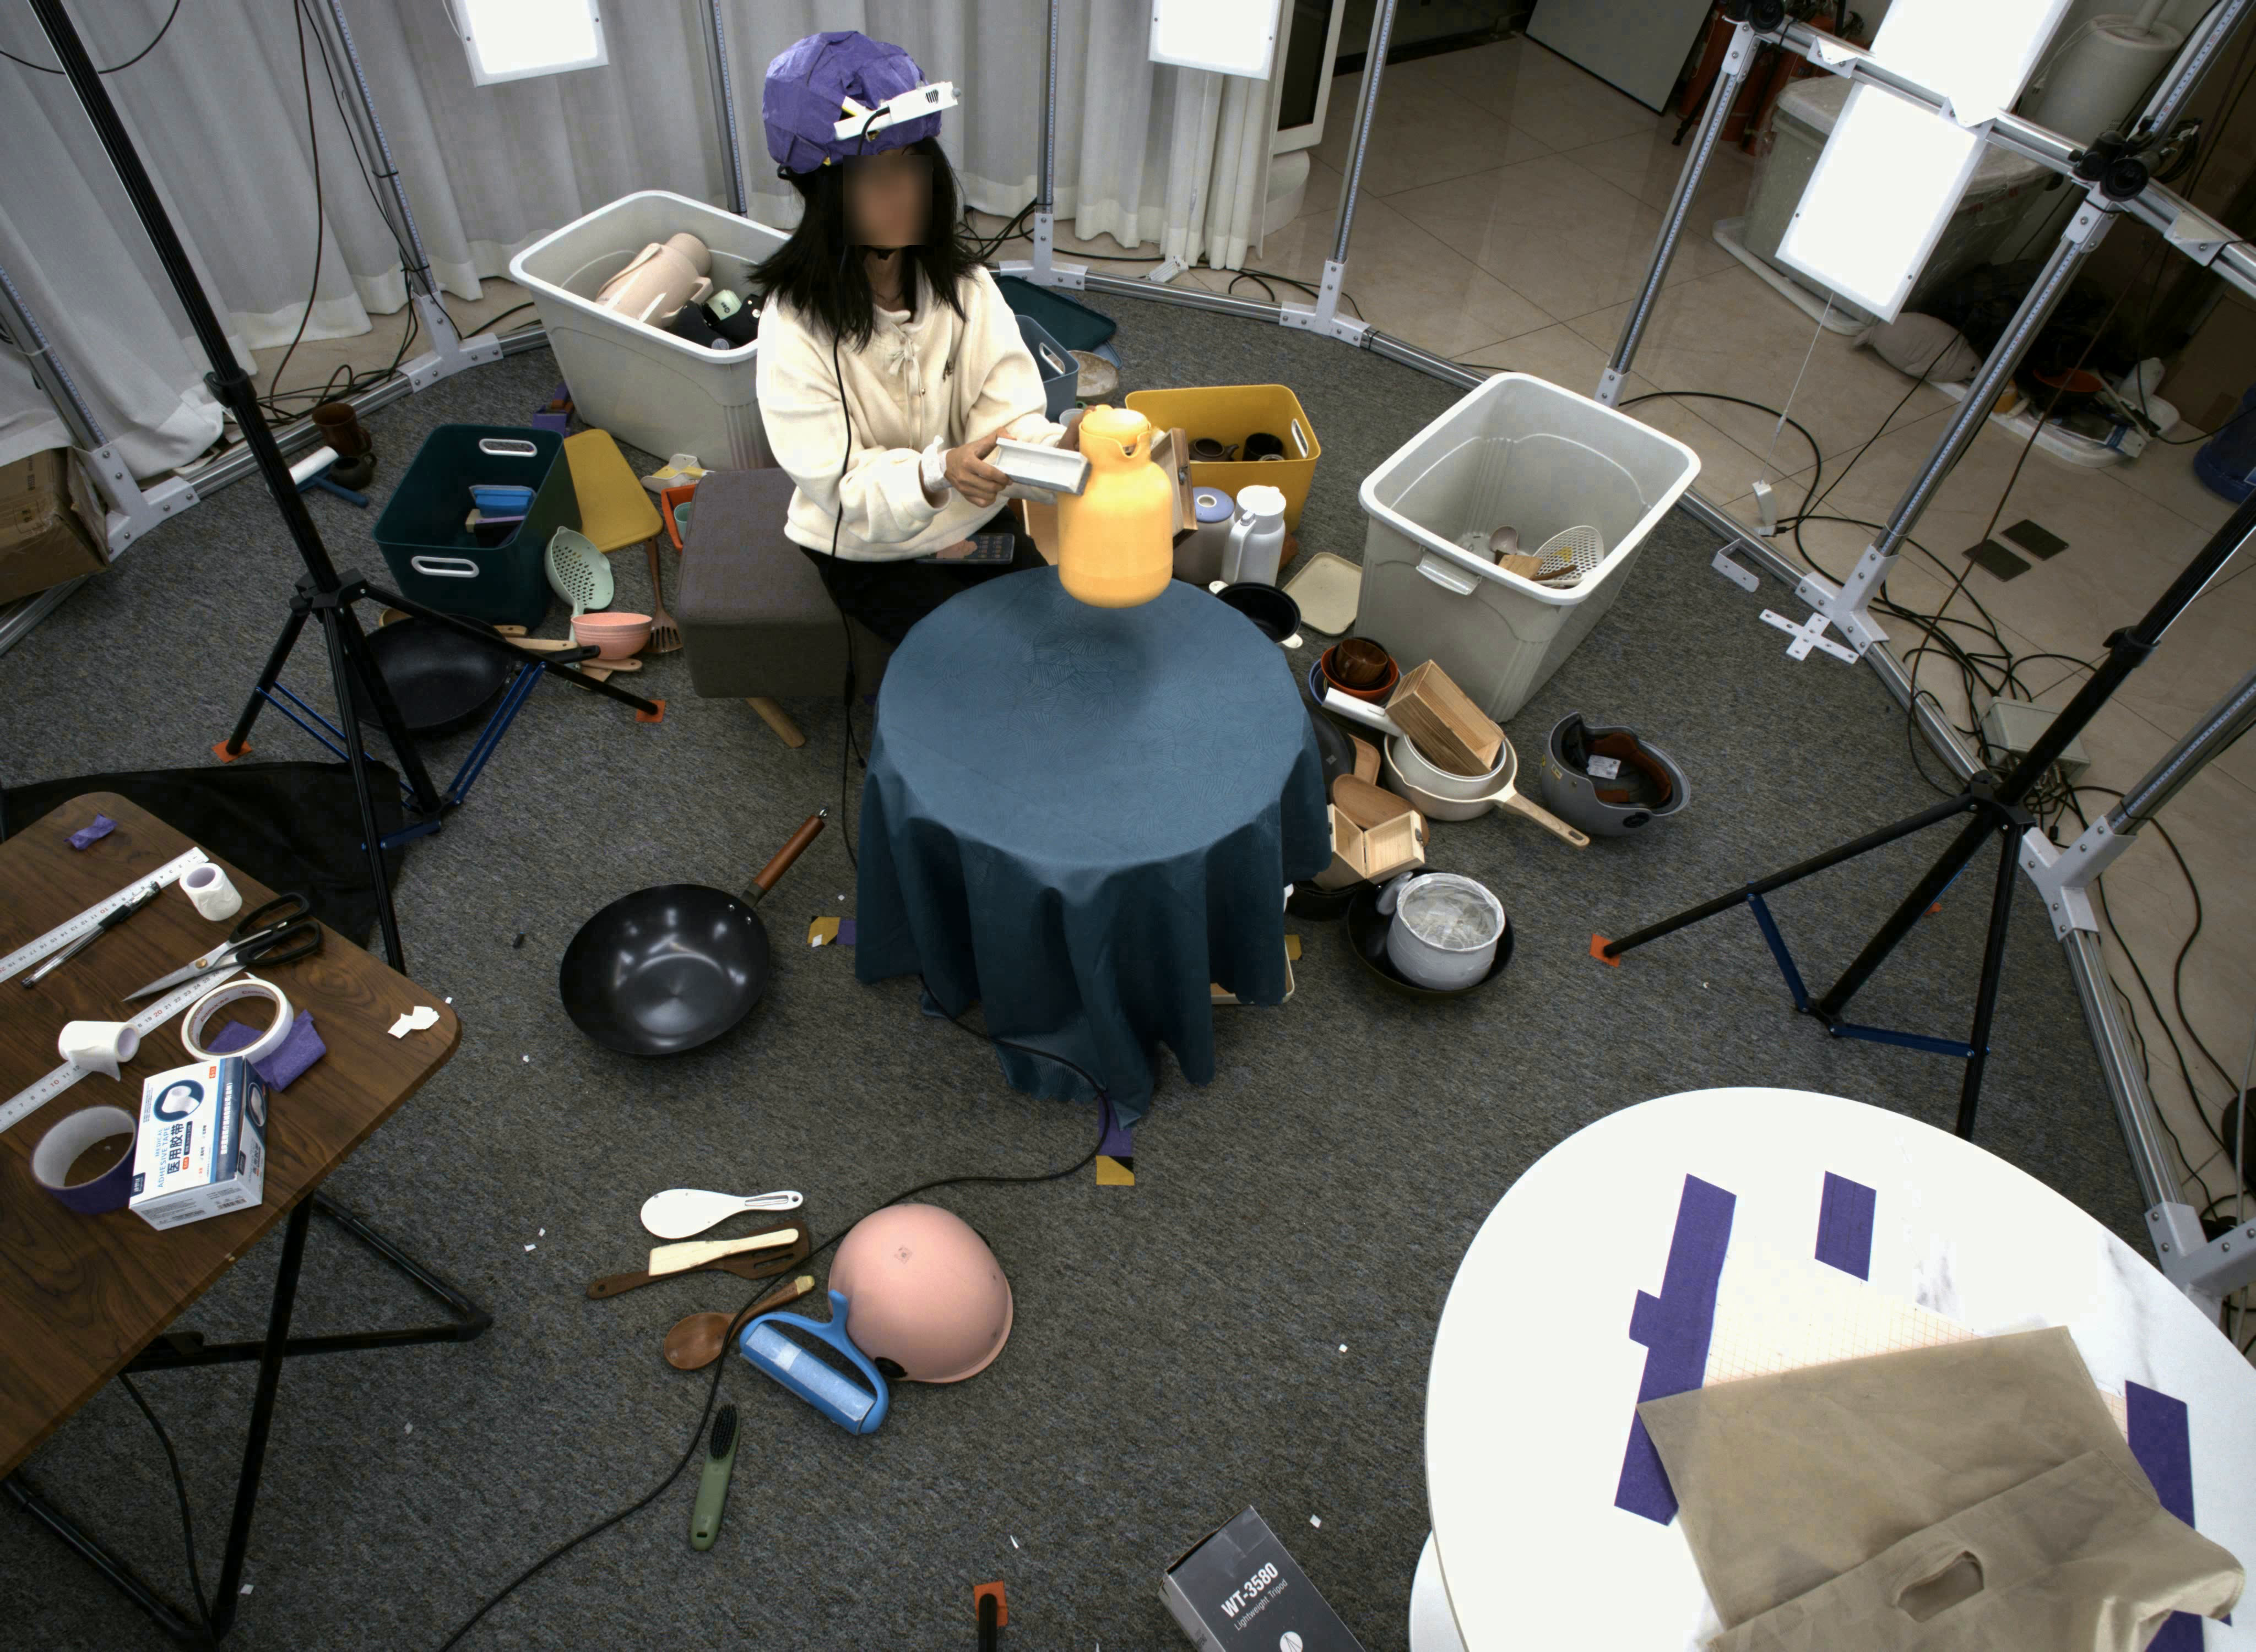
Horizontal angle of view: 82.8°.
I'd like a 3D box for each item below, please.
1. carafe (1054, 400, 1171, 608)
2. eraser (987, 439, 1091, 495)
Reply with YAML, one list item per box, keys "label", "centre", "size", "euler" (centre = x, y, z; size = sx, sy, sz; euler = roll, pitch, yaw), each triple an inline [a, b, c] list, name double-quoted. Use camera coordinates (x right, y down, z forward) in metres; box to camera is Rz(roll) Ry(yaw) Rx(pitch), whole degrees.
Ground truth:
- label: "carafe"
  centre: [-0.024, -0.456, 1.802]
  size: [0.163, 0.254, 0.207]
  euler: [-6, 36, -15]
- label: "eraser"
  centre: [-0.118, -0.480, 1.730]
  size: [0.135, 0.046, 0.050]
  euler: [15, 90, 27]
